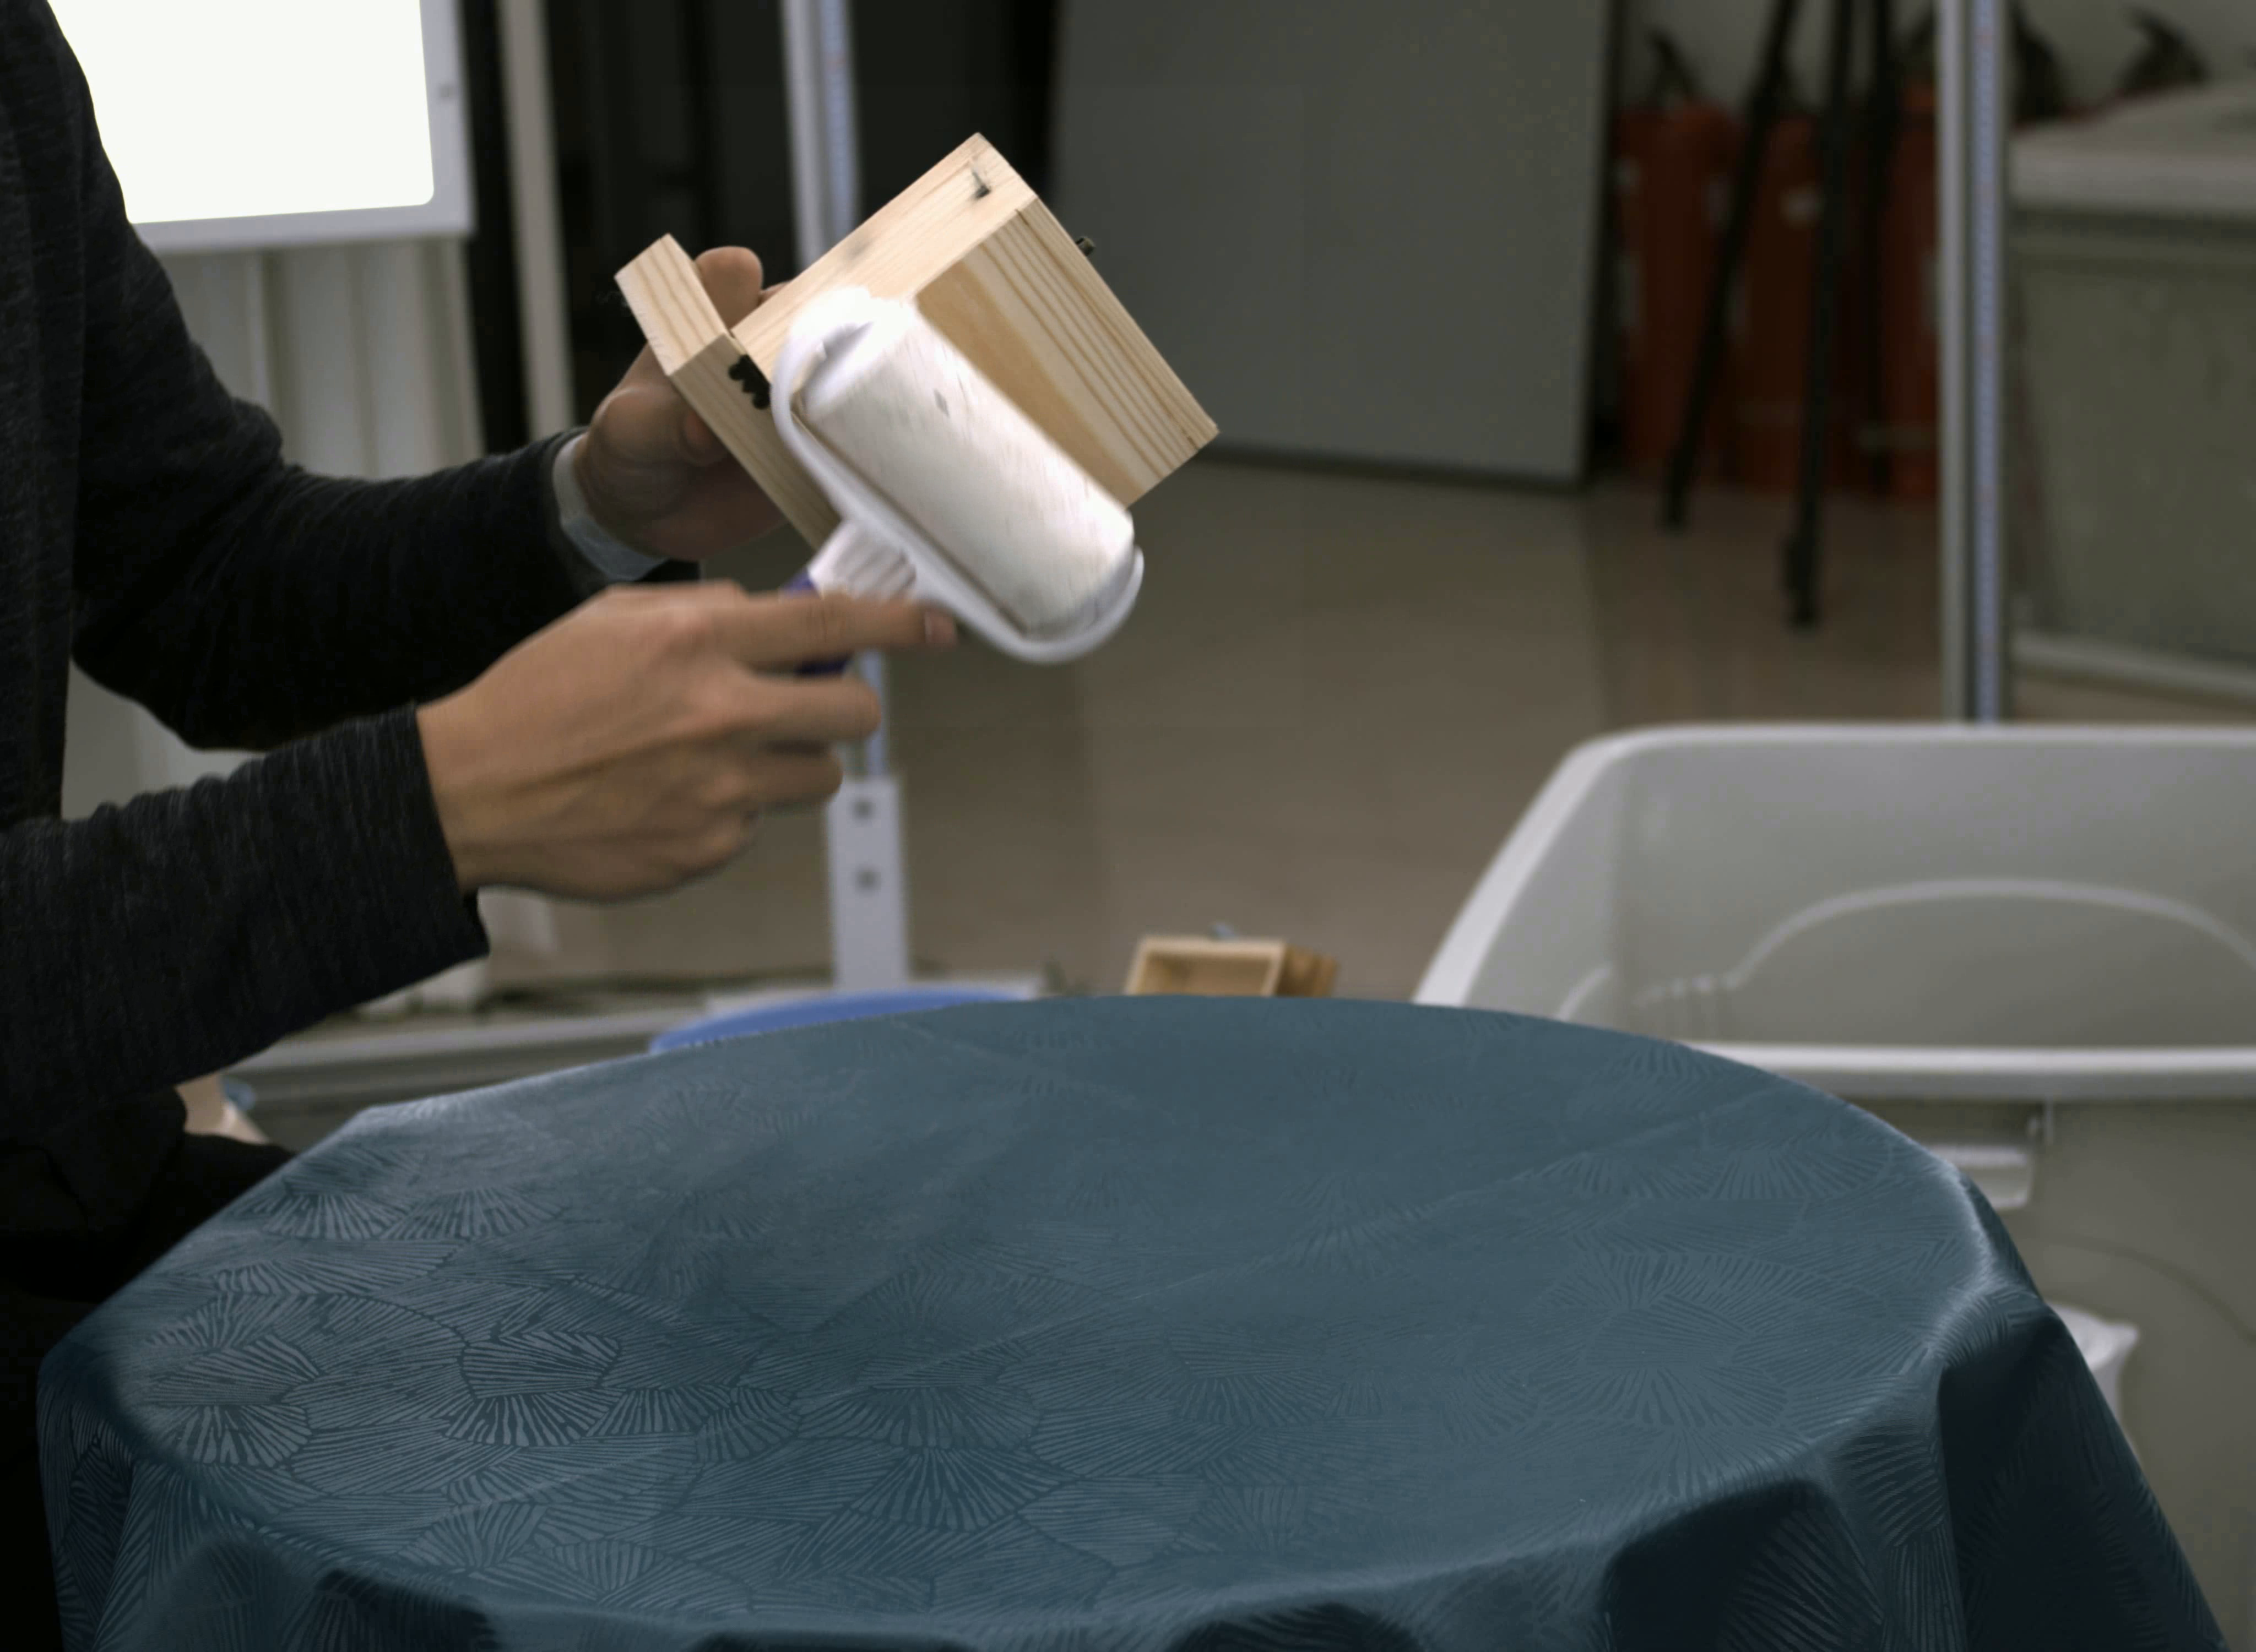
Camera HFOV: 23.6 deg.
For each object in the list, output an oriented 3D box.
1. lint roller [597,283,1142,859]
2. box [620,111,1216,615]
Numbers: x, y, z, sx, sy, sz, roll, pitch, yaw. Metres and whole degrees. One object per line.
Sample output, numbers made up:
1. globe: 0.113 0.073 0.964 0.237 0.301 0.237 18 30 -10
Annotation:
1. lint roller: -0.092 -0.060 1.607 0.180 0.132 0.050 -47 19 -6
2. box: -0.069 -0.157 1.738 0.133 0.102 0.186 -40 26 1
